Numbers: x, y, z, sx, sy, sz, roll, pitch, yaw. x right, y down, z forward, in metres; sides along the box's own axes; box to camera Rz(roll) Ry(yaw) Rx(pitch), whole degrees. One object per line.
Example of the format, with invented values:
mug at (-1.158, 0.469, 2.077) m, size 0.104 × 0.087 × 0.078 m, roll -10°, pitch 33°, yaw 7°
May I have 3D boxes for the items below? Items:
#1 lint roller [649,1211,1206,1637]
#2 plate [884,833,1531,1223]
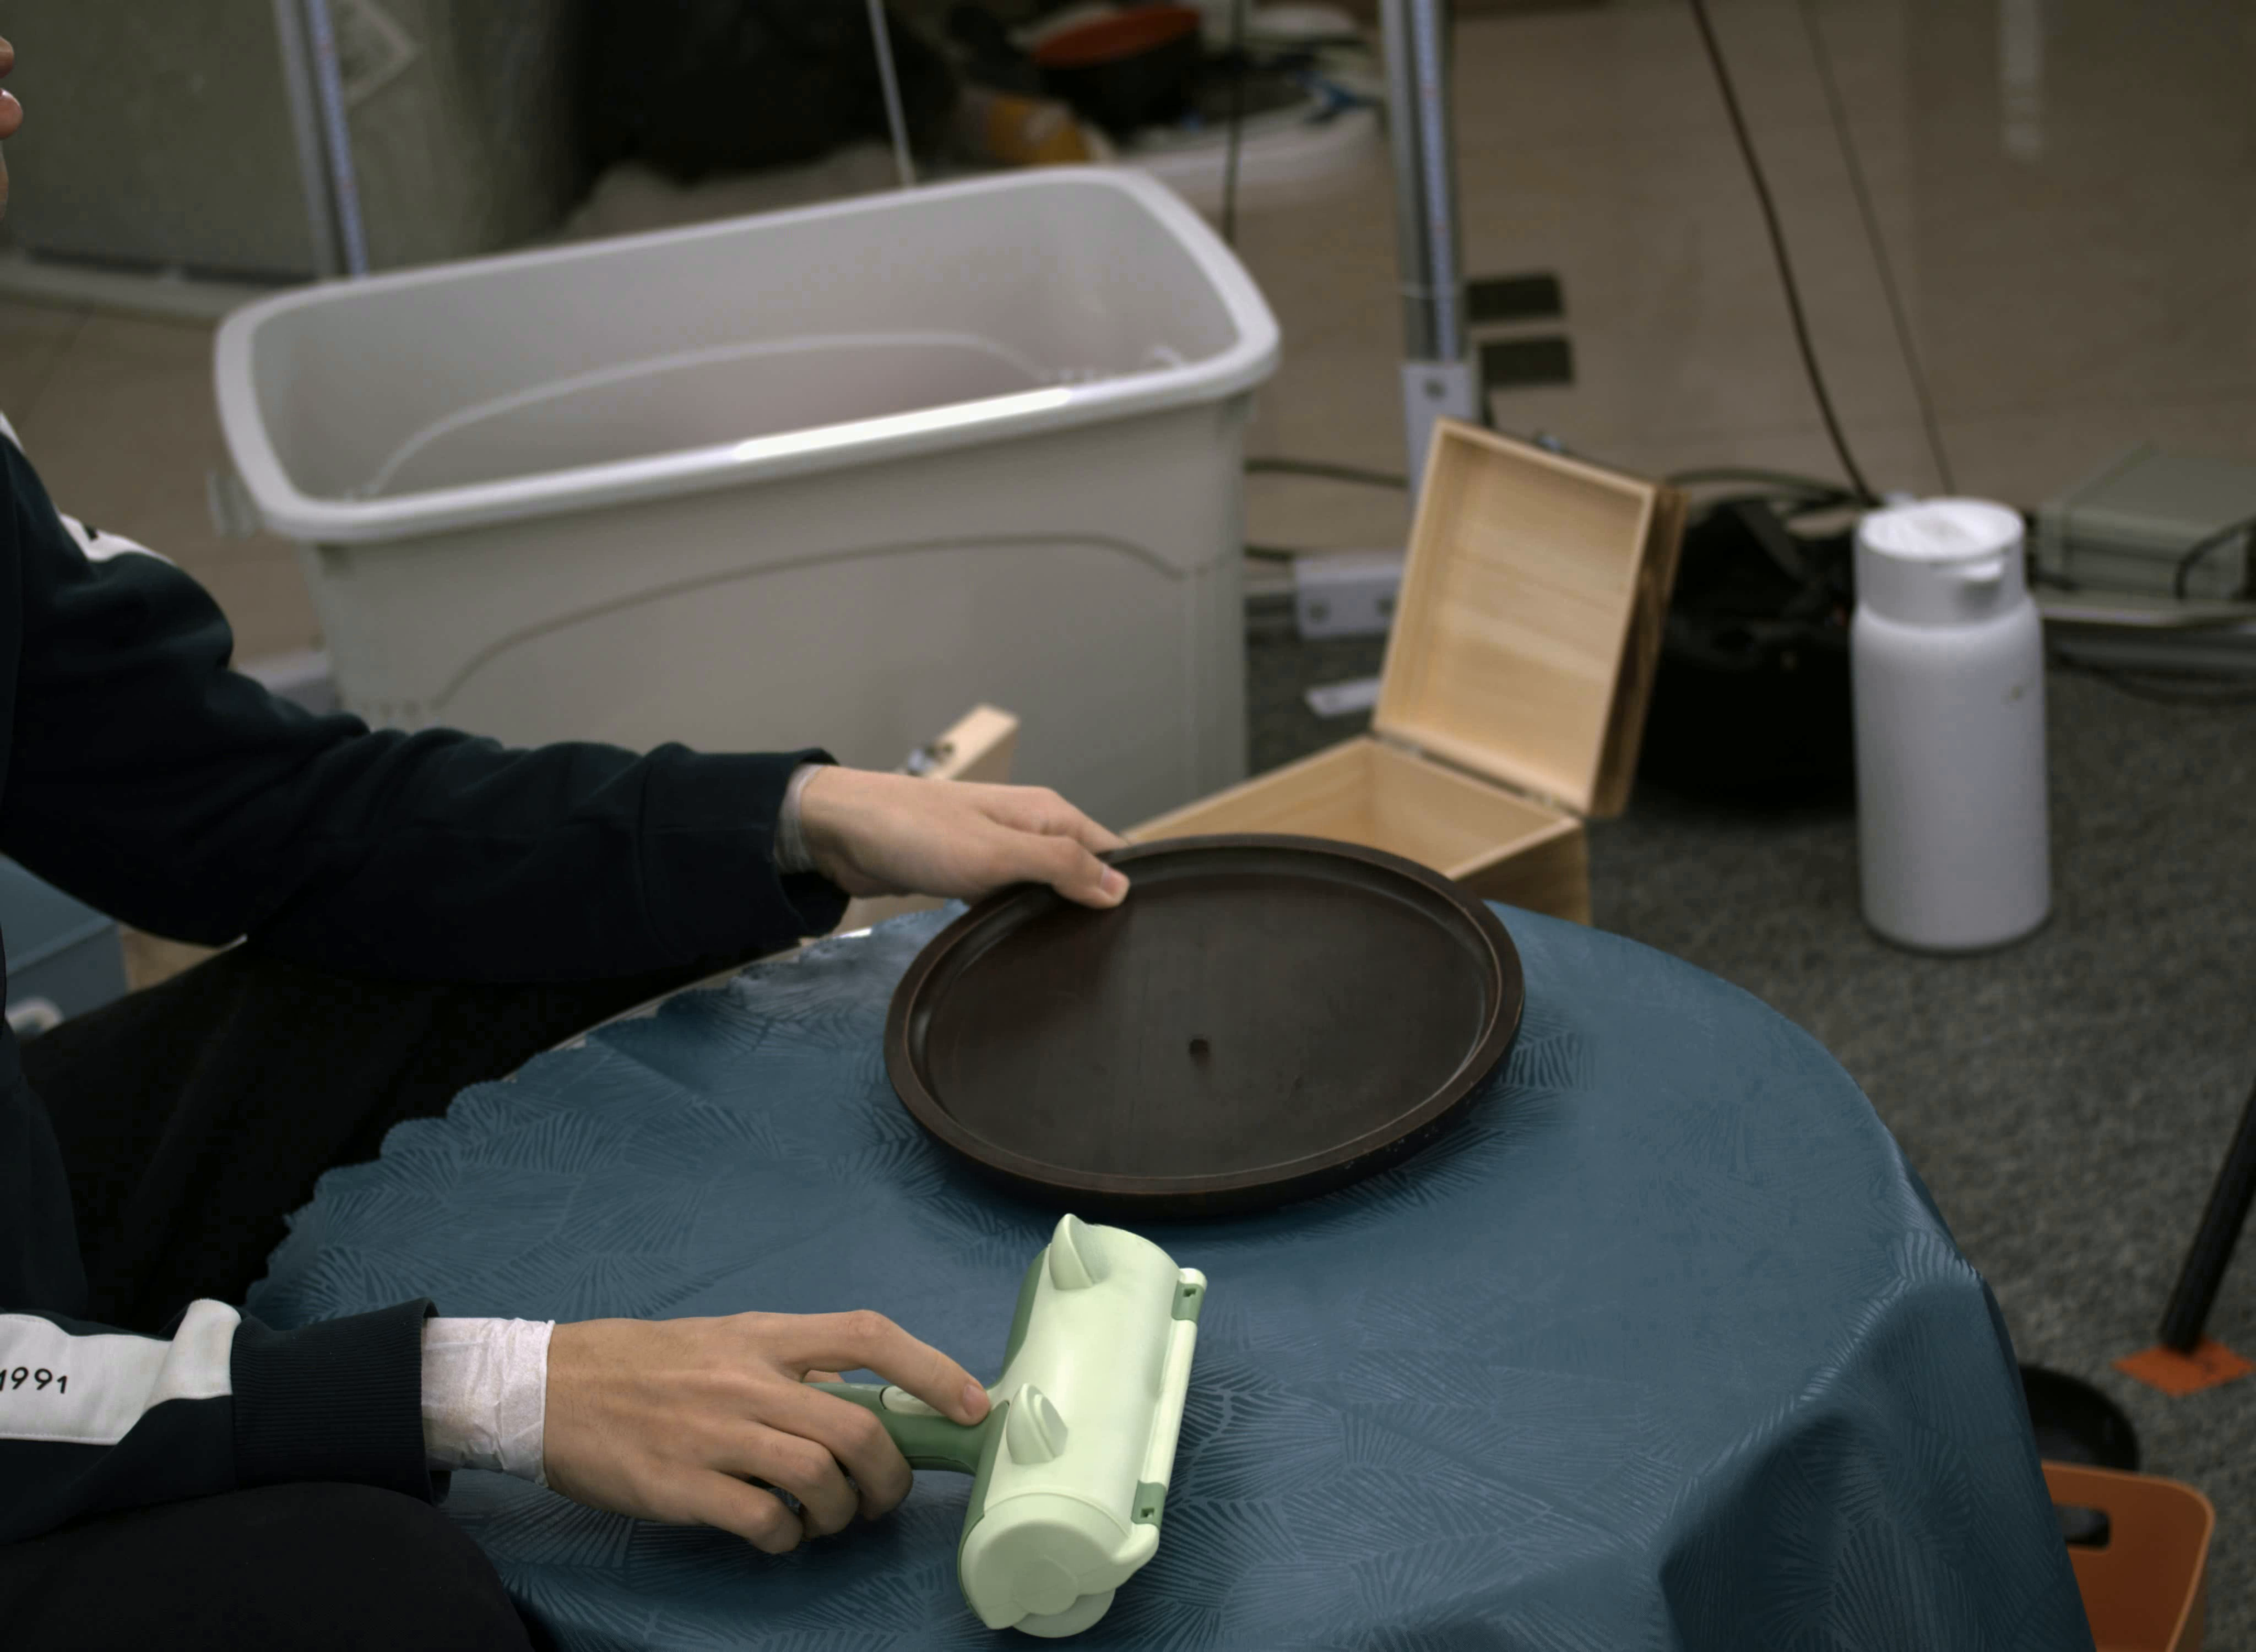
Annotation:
lint roller at (-0.073, 0.192, 1.939) m, size 0.183 × 0.083 × 0.195 m, roll 6°, pitch 26°, yaw 4°
plate at (0.031, 0.077, 2.208) m, size 0.254 × 0.029 × 0.250 m, roll -5°, pitch 34°, yaw 3°
